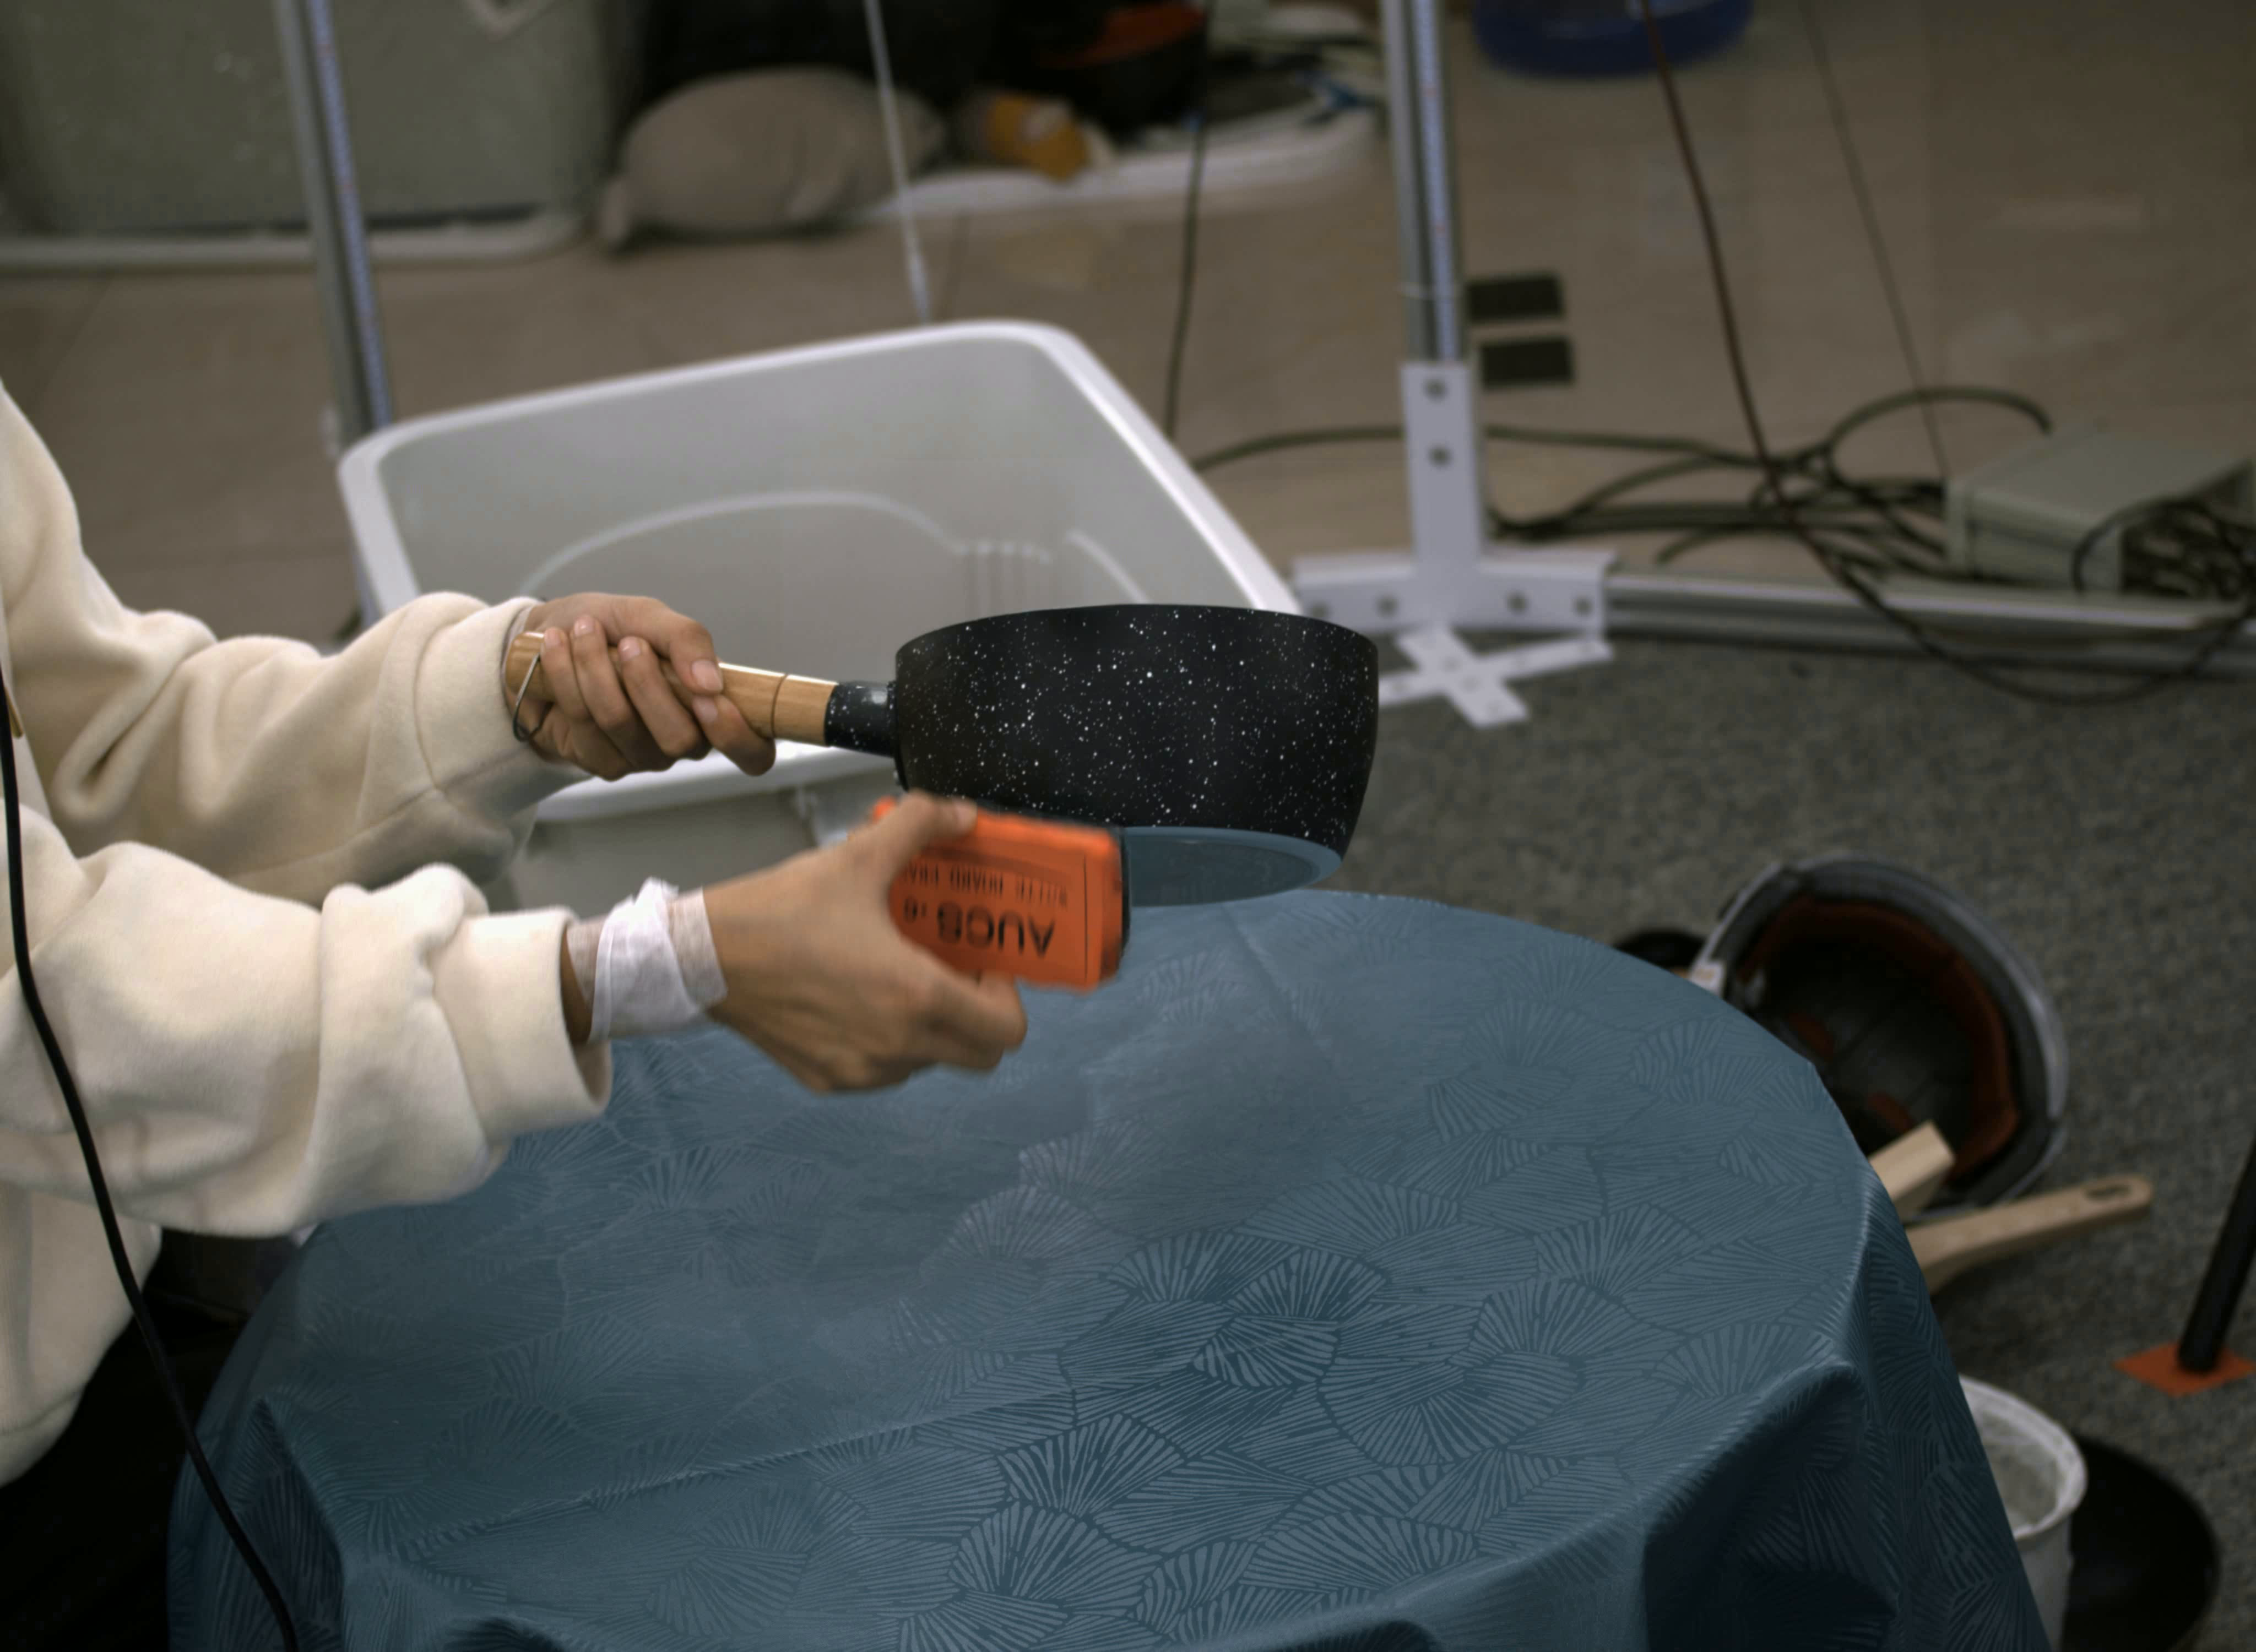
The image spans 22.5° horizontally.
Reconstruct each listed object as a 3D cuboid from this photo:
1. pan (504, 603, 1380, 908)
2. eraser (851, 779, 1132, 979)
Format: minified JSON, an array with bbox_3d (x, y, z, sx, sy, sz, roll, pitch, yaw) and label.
[{"bbox_3d":[-0.075,-0.030,2.152,0.342,0.108,0.209,-1,-10,10],"label":"pan"},{"bbox_3d":[-0.050,0.019,2.056,0.107,0.060,0.022,10,22,29],"label":"eraser"}]
